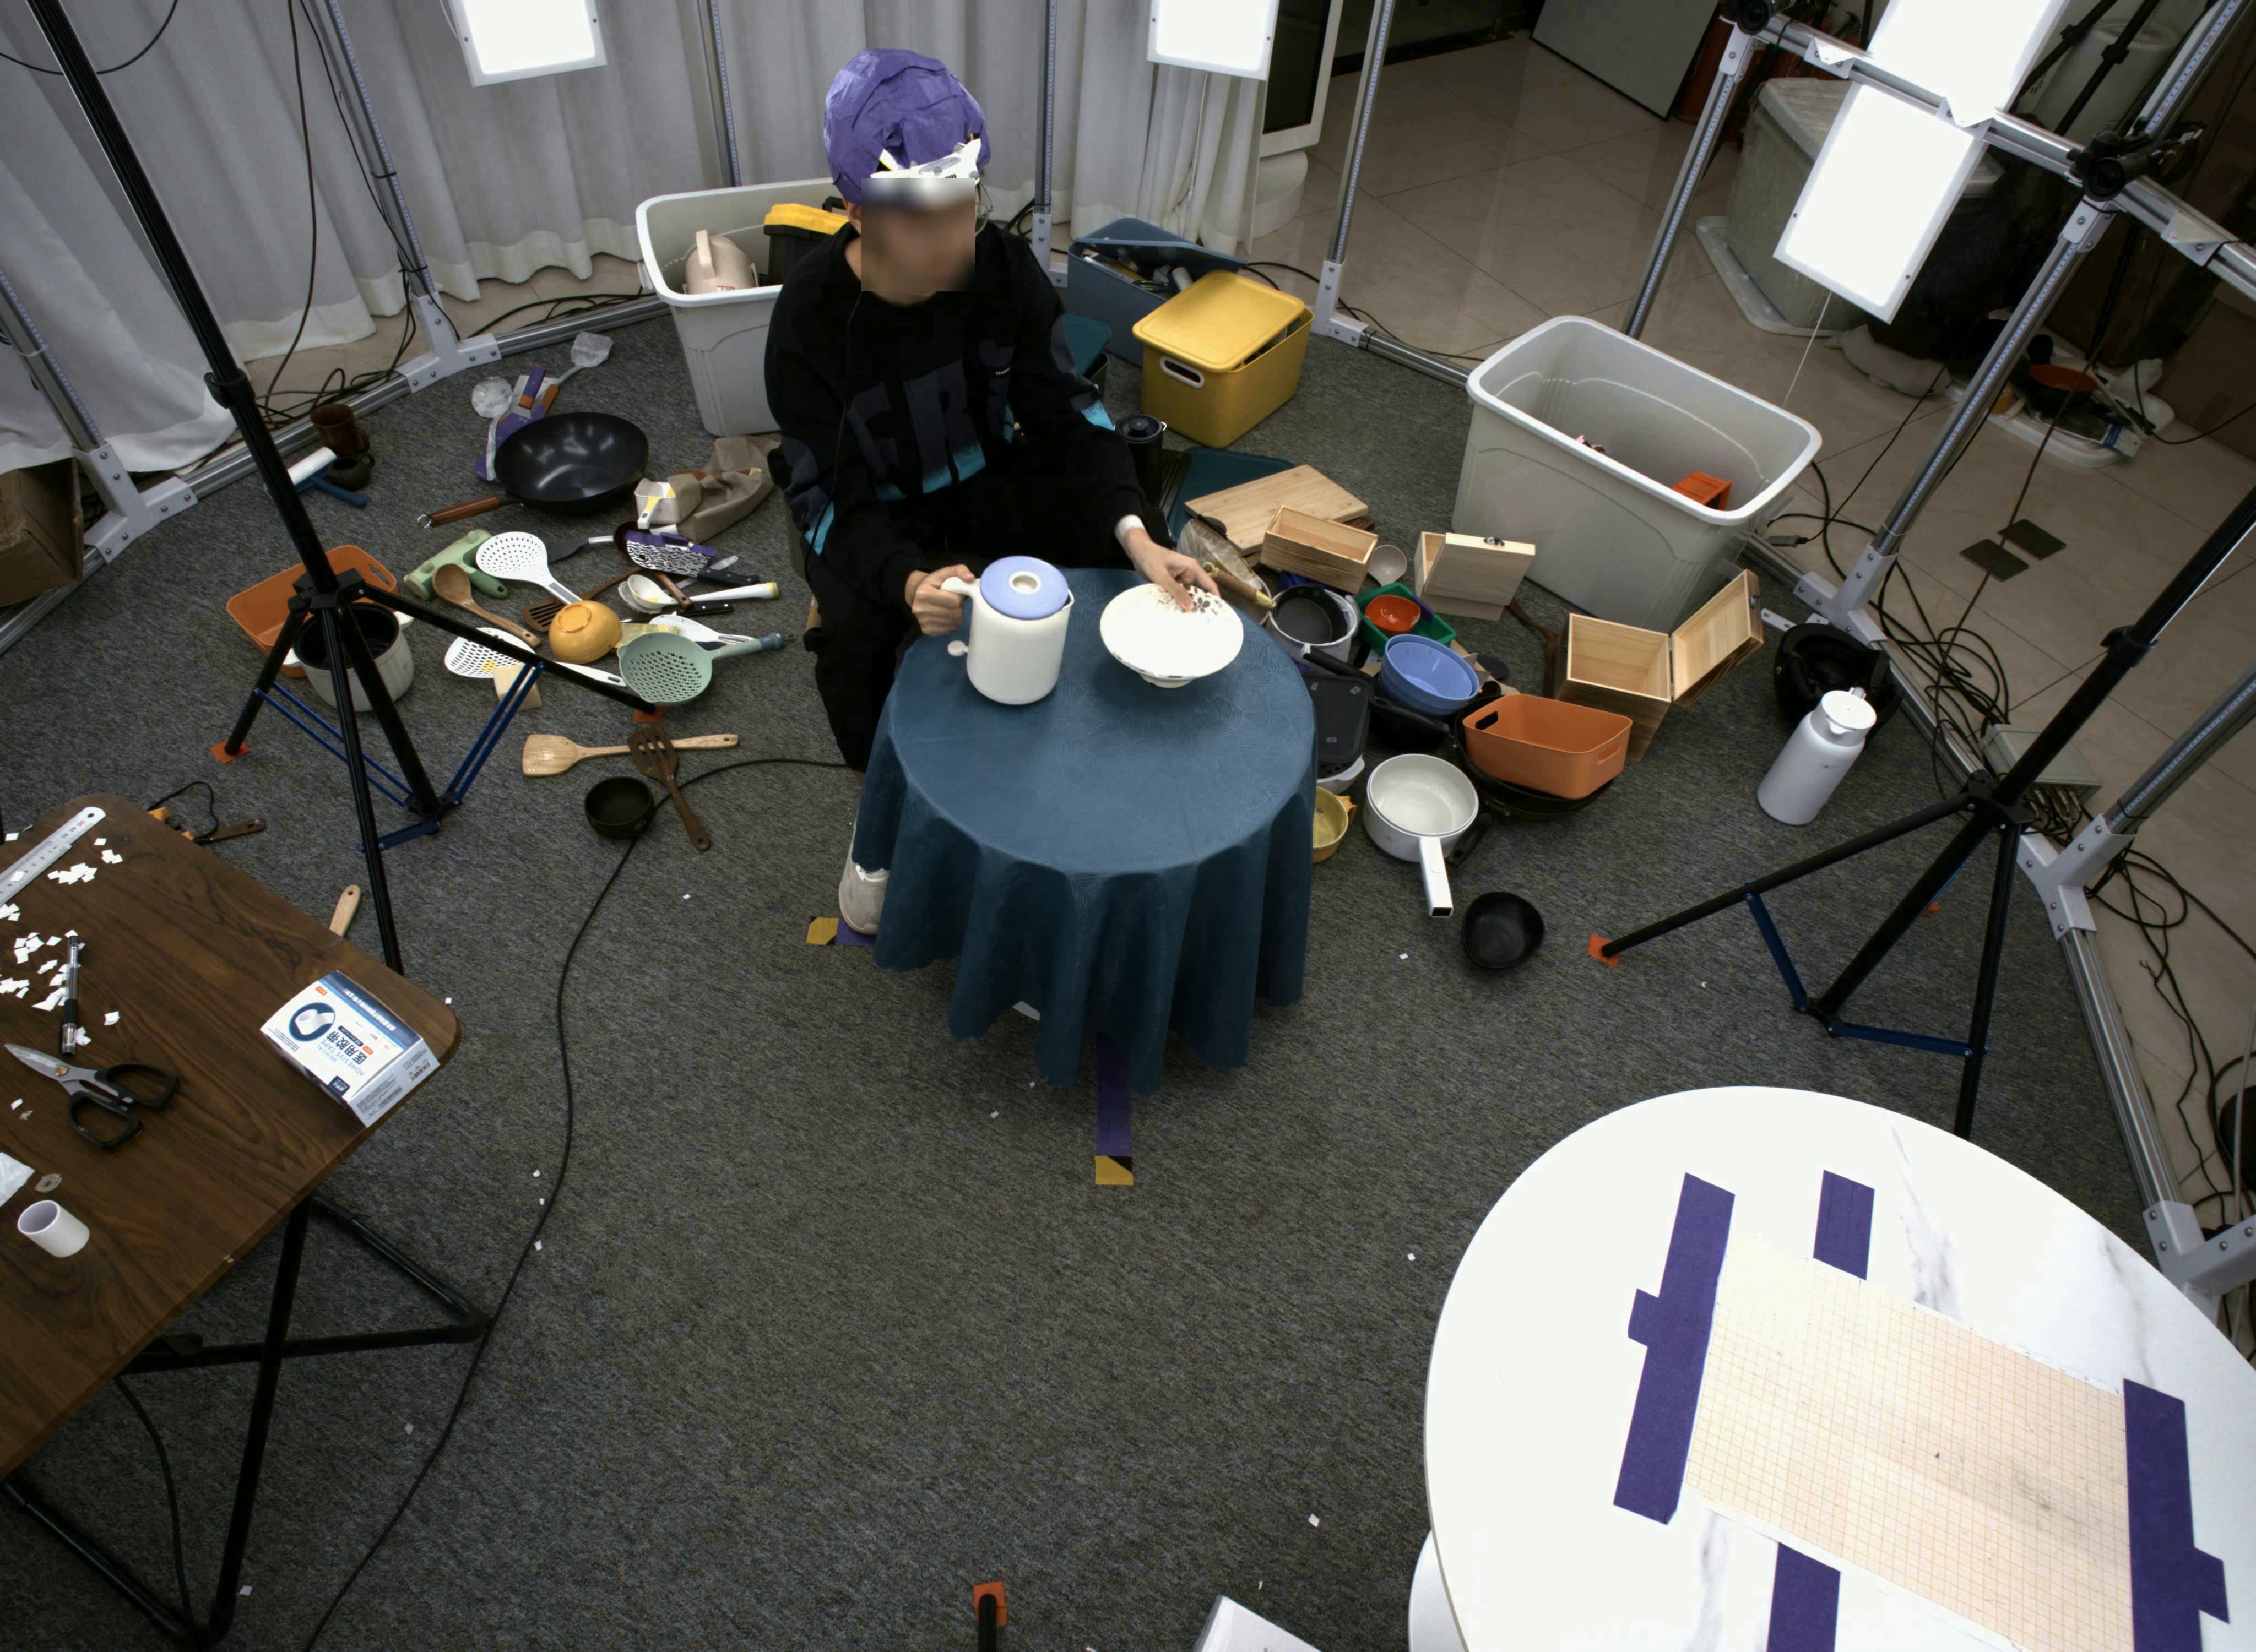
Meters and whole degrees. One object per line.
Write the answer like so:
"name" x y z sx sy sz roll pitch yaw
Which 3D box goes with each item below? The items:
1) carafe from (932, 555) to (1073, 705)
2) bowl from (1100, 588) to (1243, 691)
"carafe" -0.174 -0.273 1.766 0.191 0.178 0.135 12 50 2
"bowl" 0.060 -0.252 1.843 0.204 0.076 0.209 2 45 -2
